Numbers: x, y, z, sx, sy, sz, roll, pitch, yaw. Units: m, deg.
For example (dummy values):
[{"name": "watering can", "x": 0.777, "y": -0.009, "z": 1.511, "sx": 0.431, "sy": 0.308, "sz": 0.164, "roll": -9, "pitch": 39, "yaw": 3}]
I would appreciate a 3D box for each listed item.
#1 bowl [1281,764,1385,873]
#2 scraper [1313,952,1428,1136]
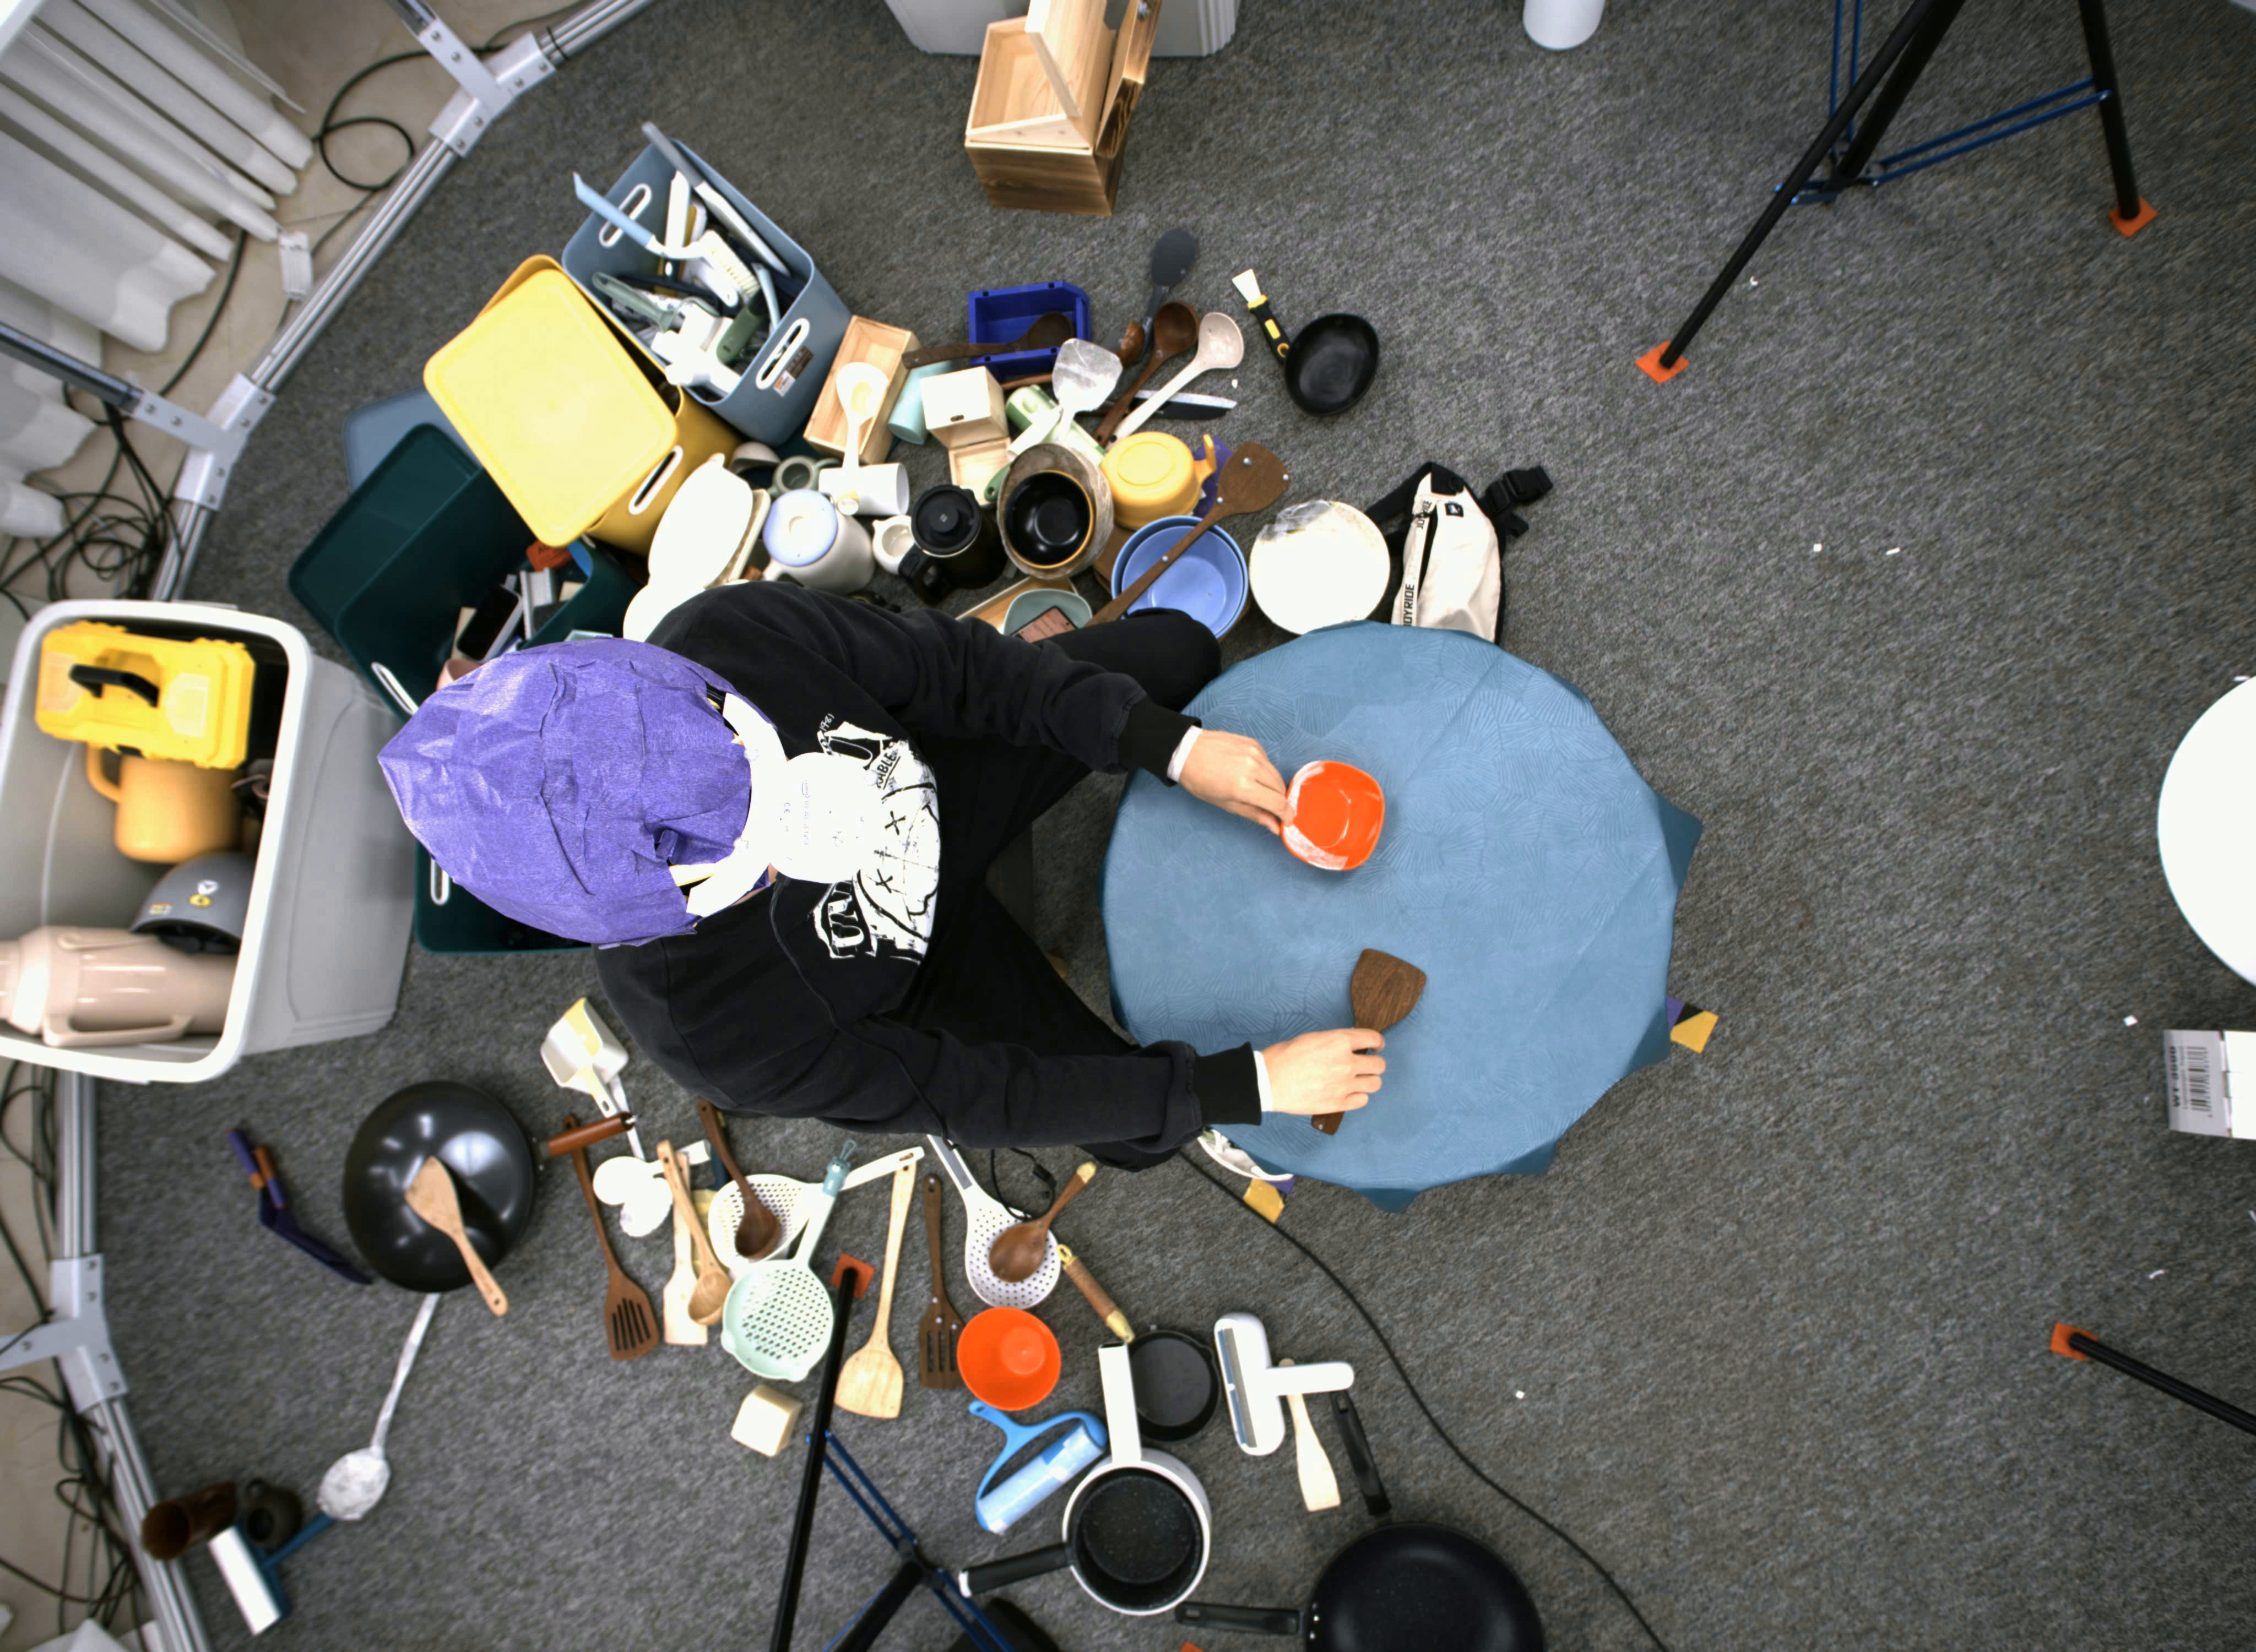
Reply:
[{"name": "bowl", "x": 0.208, "y": -0.009, "z": 1.446, "sx": 0.118, "sy": 0.051, "sz": 0.119, "roll": 0, "pitch": 93, "yaw": -13}, {"name": "scraper", "x": 0.239, "y": 0.222, "z": 1.412, "sx": 0.076, "sy": 0.011, "sz": 0.206, "roll": 26, "pitch": 62, "yaw": 10}]
